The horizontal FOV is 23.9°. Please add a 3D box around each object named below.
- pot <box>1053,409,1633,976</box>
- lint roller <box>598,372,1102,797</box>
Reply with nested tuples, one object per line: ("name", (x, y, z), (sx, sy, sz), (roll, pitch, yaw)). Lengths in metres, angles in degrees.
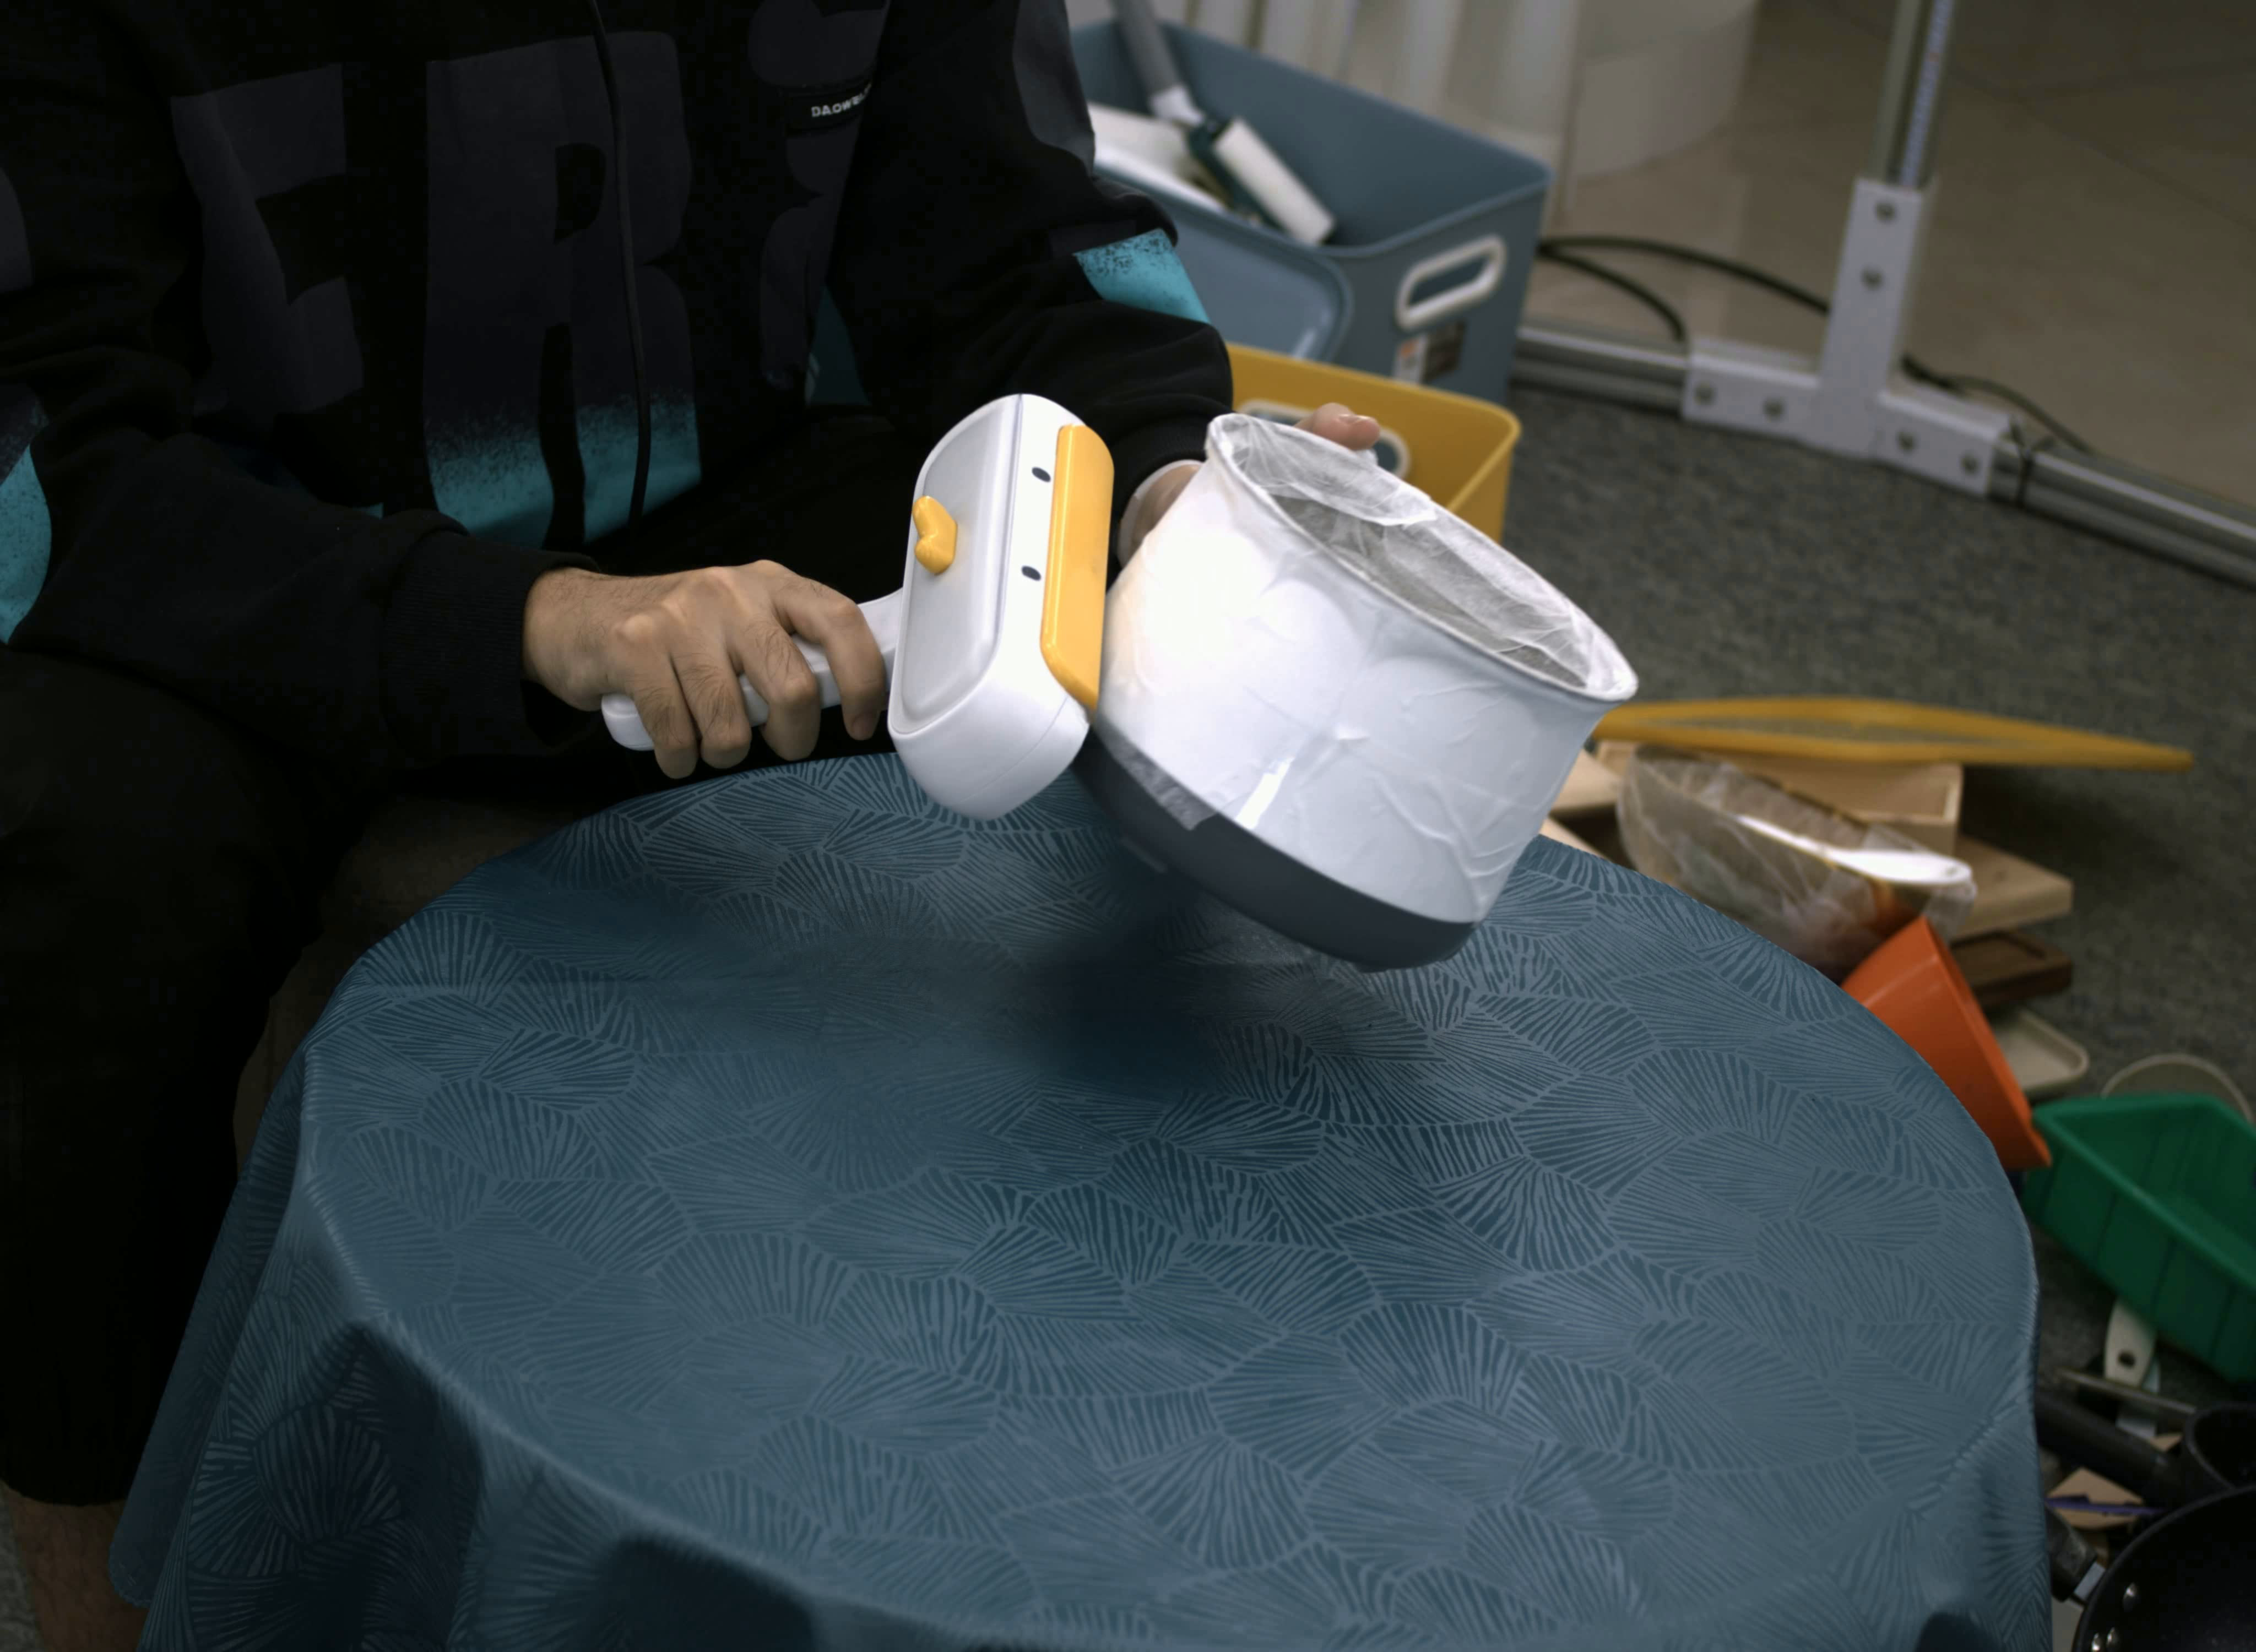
("pot", (0.064, -0.056, 1.903), (0.177, 0.136, 0.235), (28, 17, -22))
("lint roller", (-0.097, -0.065, 1.892), (0.192, 0.073, 0.194), (-28, 37, 20))
